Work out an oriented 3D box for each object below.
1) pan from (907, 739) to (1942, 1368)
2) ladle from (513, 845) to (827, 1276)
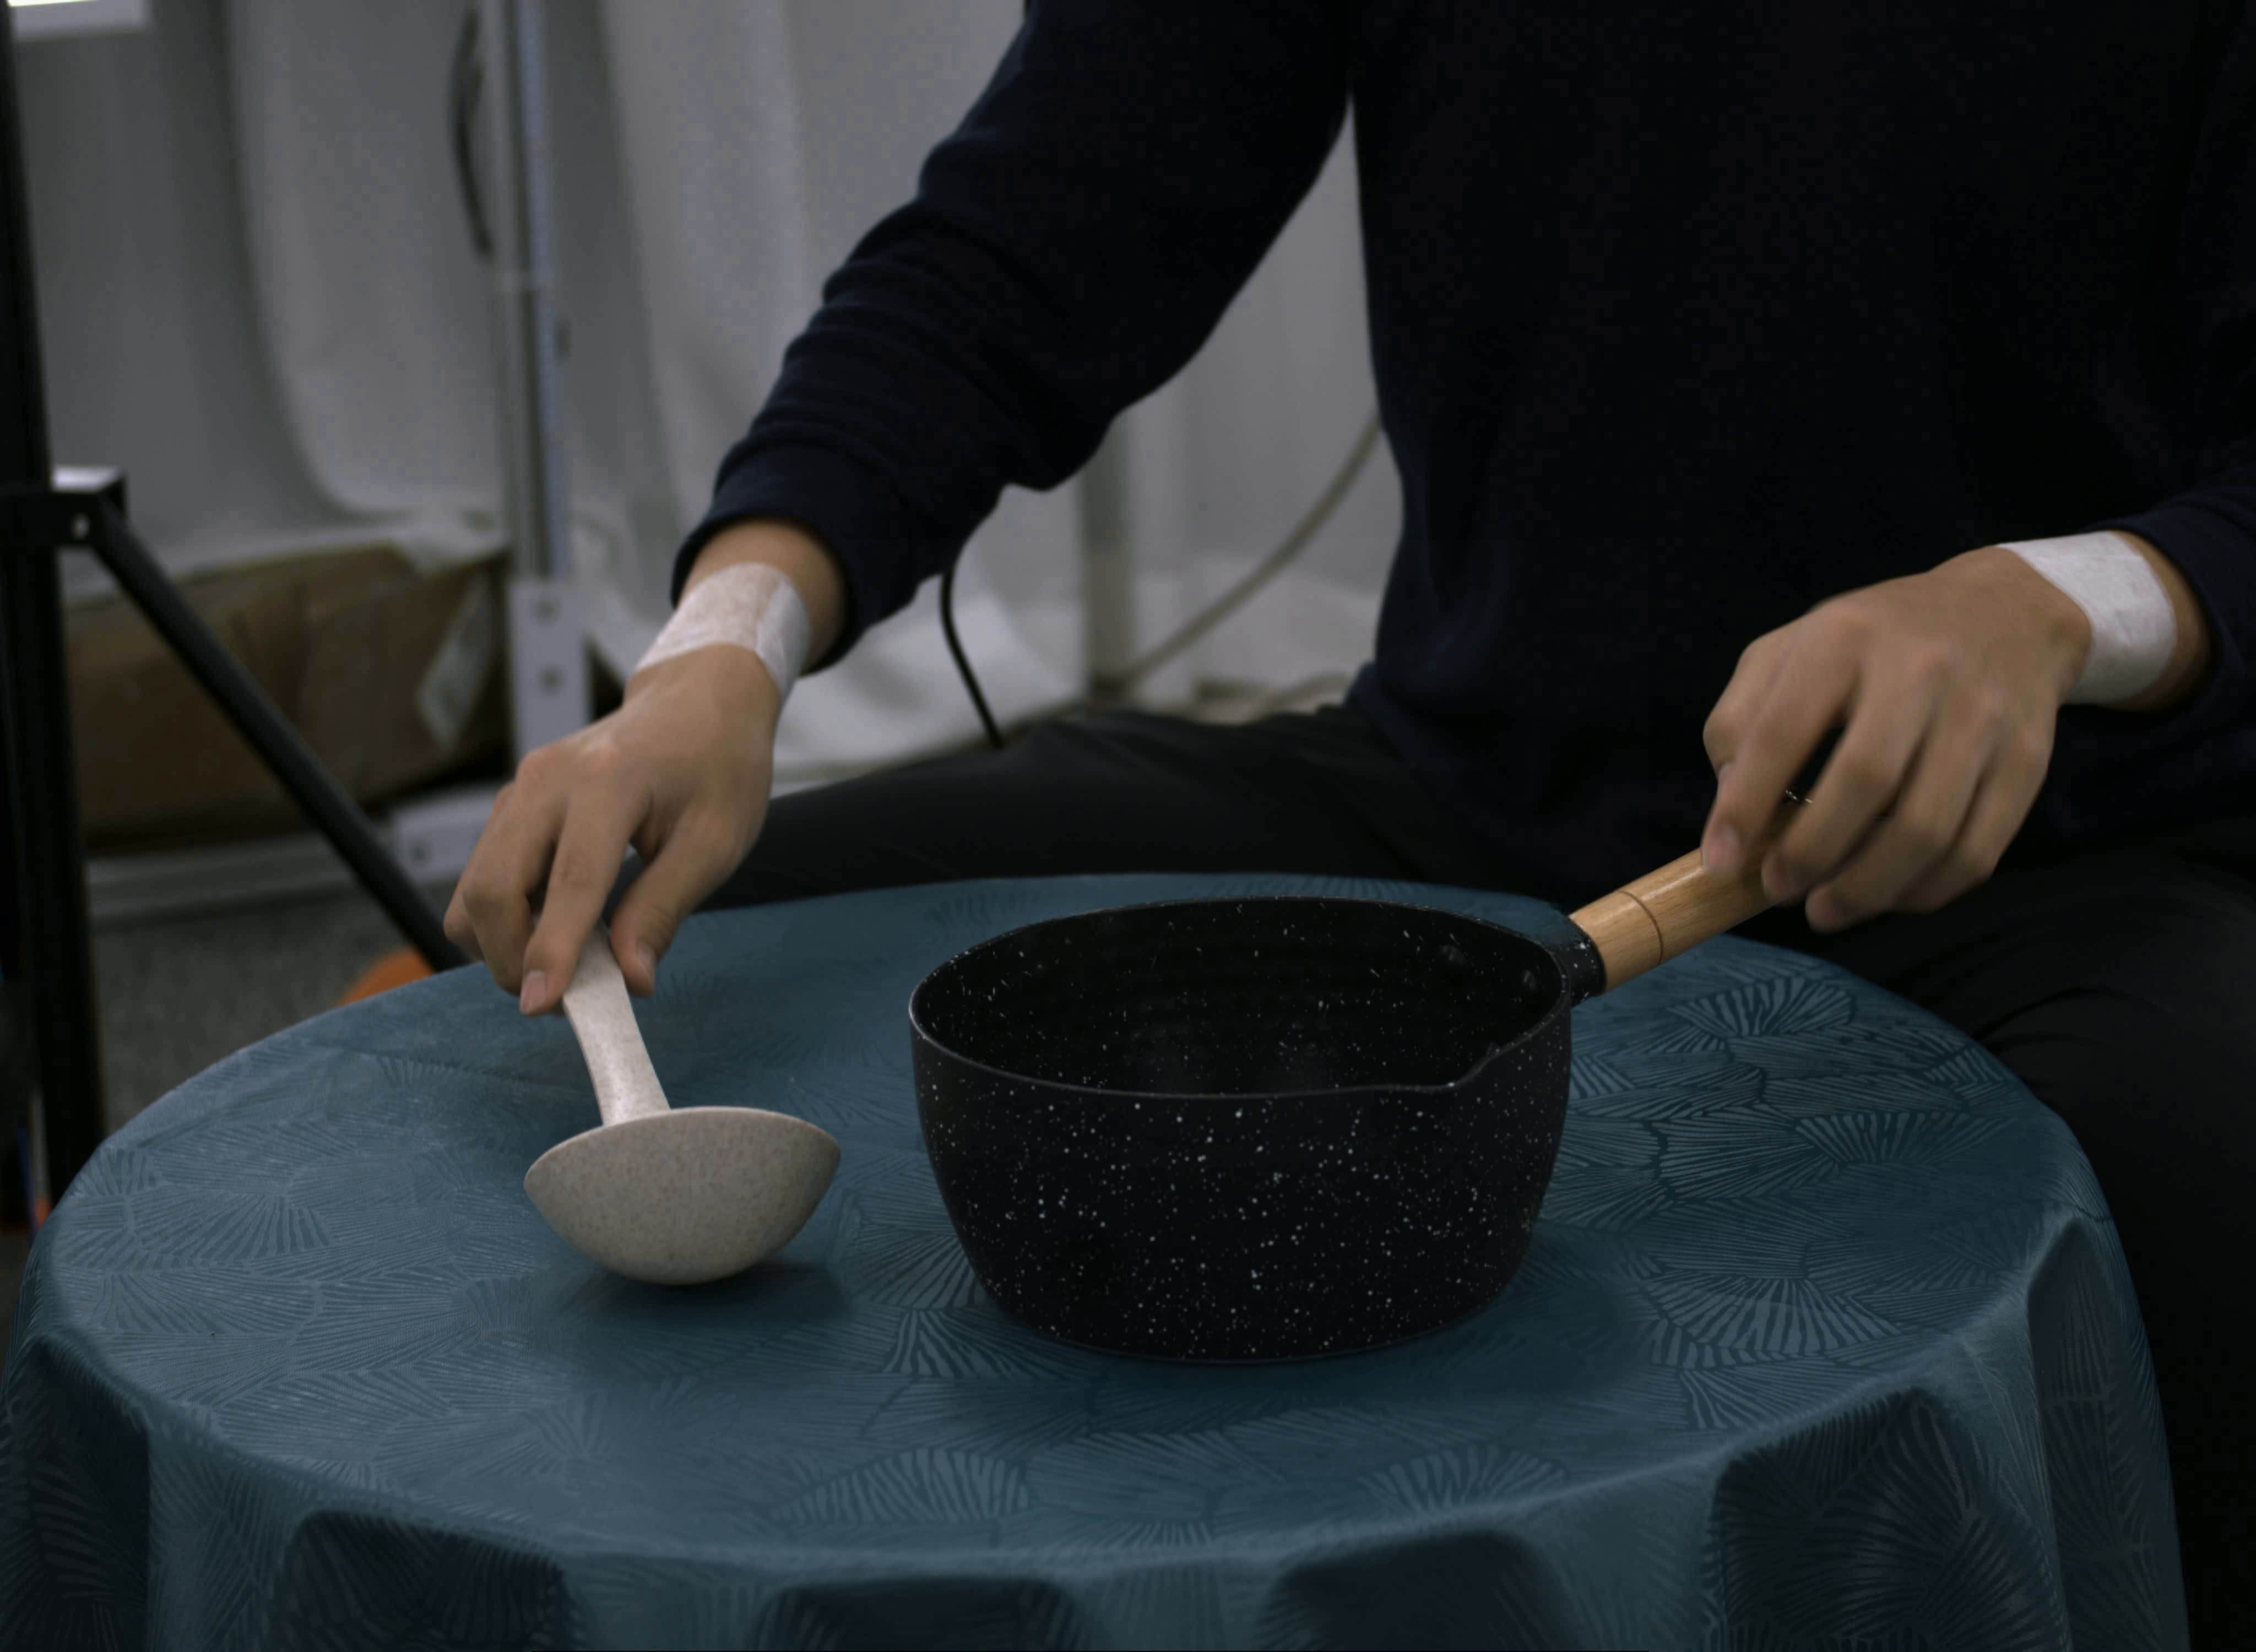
[{"bbox_3d":[0.097,0.060,1.515,0.335,0.108,0.212,-14,18,-31],"label":"pan"},{"bbox_3d":[-0.154,0.044,1.588,0.088,0.069,0.279,-6,29,-12],"label":"ladle"}]
